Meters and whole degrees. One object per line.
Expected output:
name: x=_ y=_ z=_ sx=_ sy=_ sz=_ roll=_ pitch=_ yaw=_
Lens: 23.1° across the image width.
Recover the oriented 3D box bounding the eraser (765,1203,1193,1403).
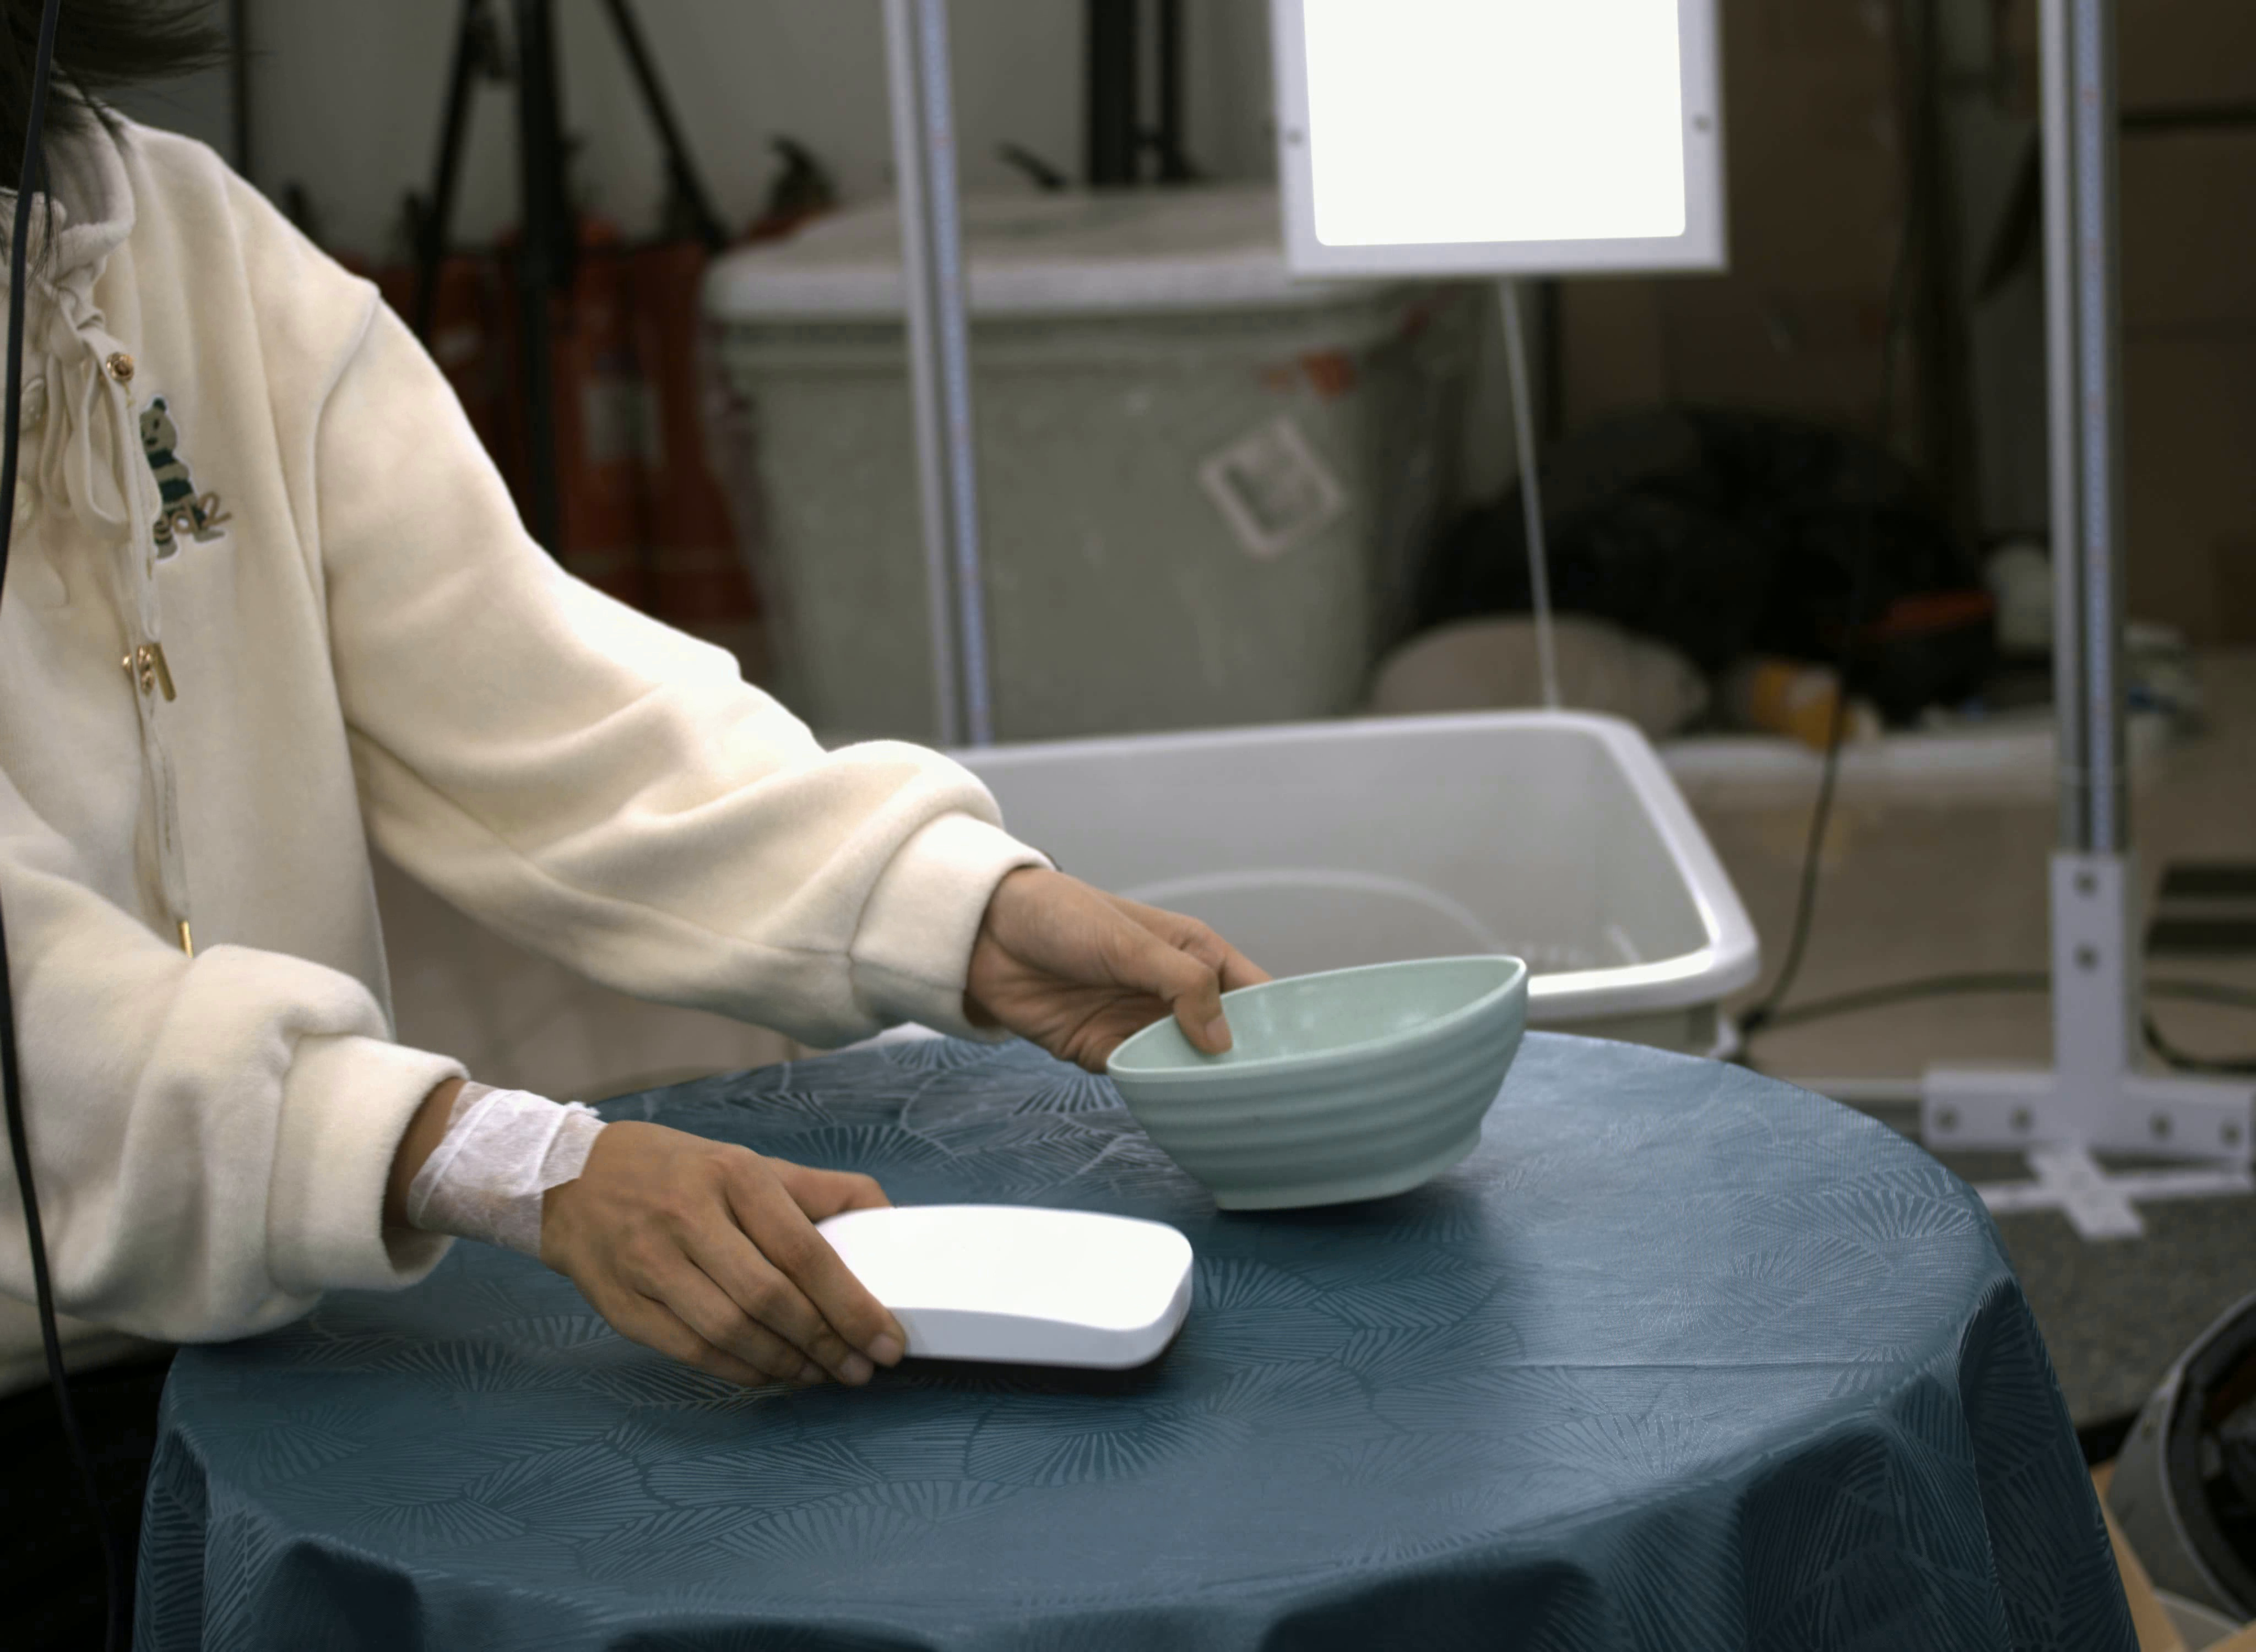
eraser: x=-0.045 y=0.149 z=1.725 sx=0.133 sy=0.034 sz=0.062 roll=3 pitch=27 yaw=21

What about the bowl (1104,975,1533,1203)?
bowl: x=0.068 y=0.091 z=1.870 sx=0.151 sy=0.059 sz=0.151 roll=-7 pitch=7 yaw=-1
